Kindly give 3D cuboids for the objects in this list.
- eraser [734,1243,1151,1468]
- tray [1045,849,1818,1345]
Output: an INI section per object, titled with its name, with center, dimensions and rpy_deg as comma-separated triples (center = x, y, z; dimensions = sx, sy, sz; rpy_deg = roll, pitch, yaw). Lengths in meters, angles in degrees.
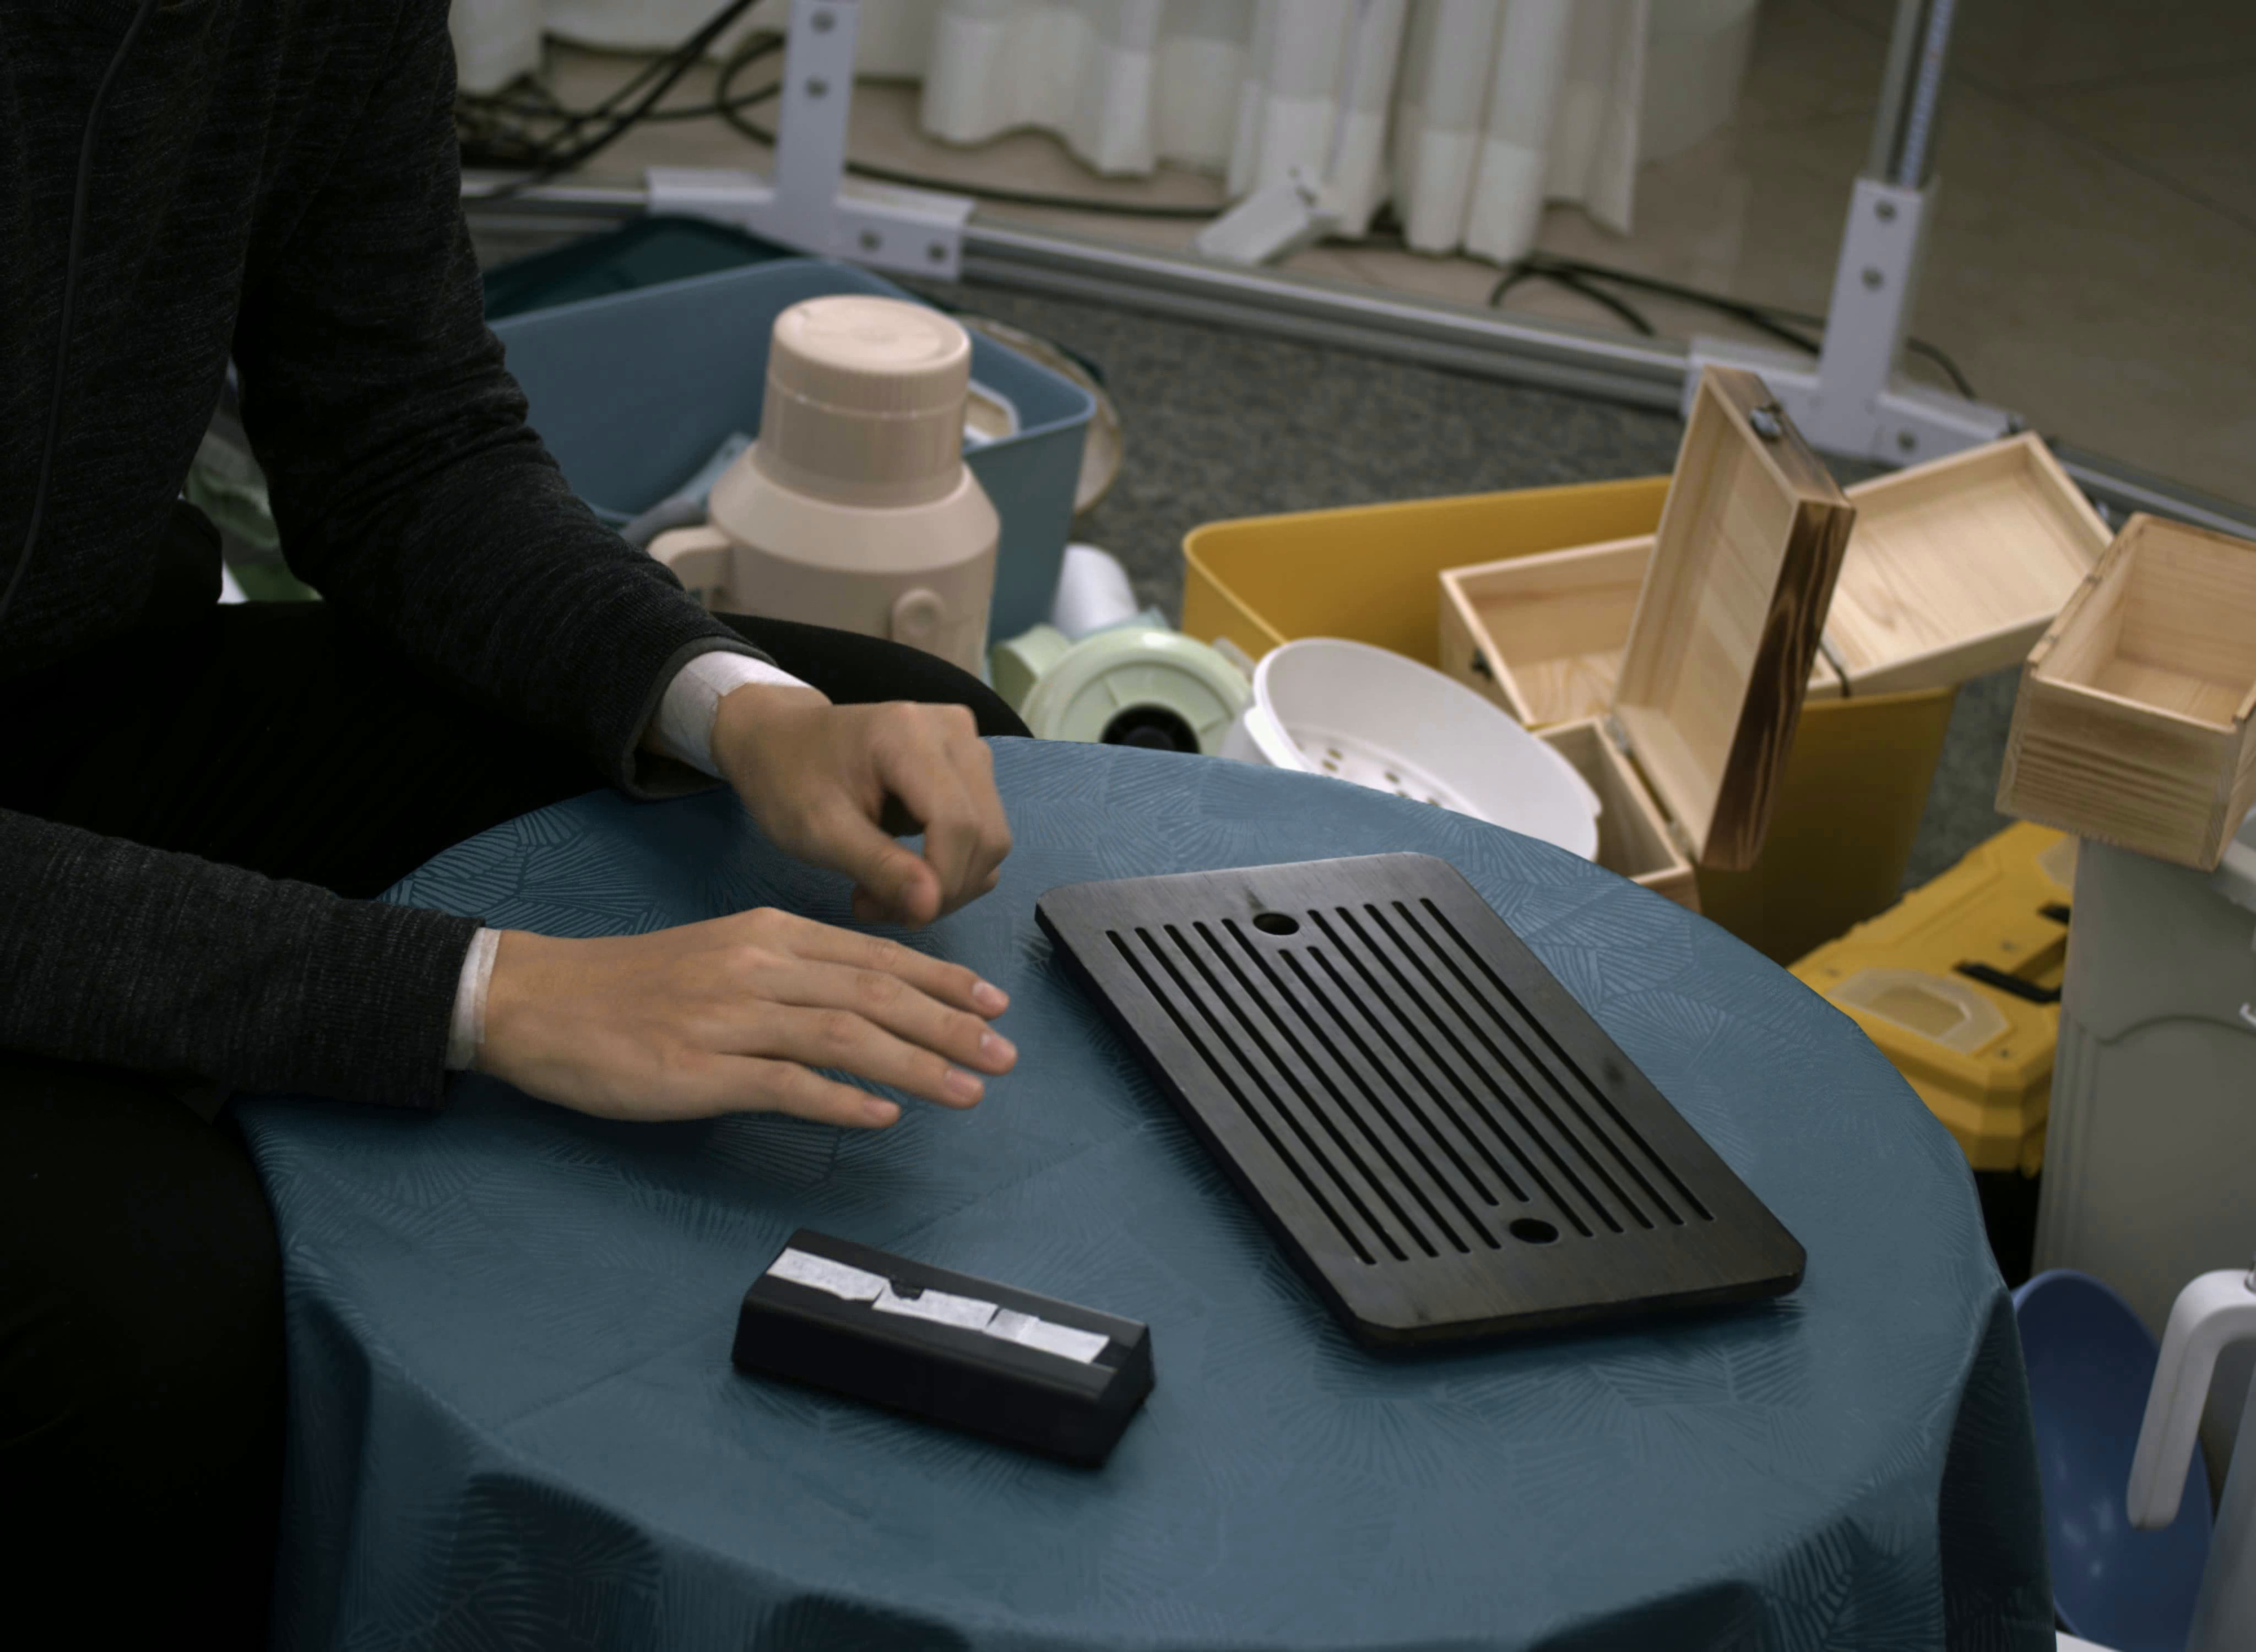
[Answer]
[eraser]
center = -0.058, 0.166, 1.675
dimensions = 0.126, 0.030, 0.053
rpy_deg = 13, 25, 15
[tray]
center = 0.100, 0.092, 1.866
dimensions = 0.169, 0.018, 0.309
rpy_deg = -6, 29, -22
